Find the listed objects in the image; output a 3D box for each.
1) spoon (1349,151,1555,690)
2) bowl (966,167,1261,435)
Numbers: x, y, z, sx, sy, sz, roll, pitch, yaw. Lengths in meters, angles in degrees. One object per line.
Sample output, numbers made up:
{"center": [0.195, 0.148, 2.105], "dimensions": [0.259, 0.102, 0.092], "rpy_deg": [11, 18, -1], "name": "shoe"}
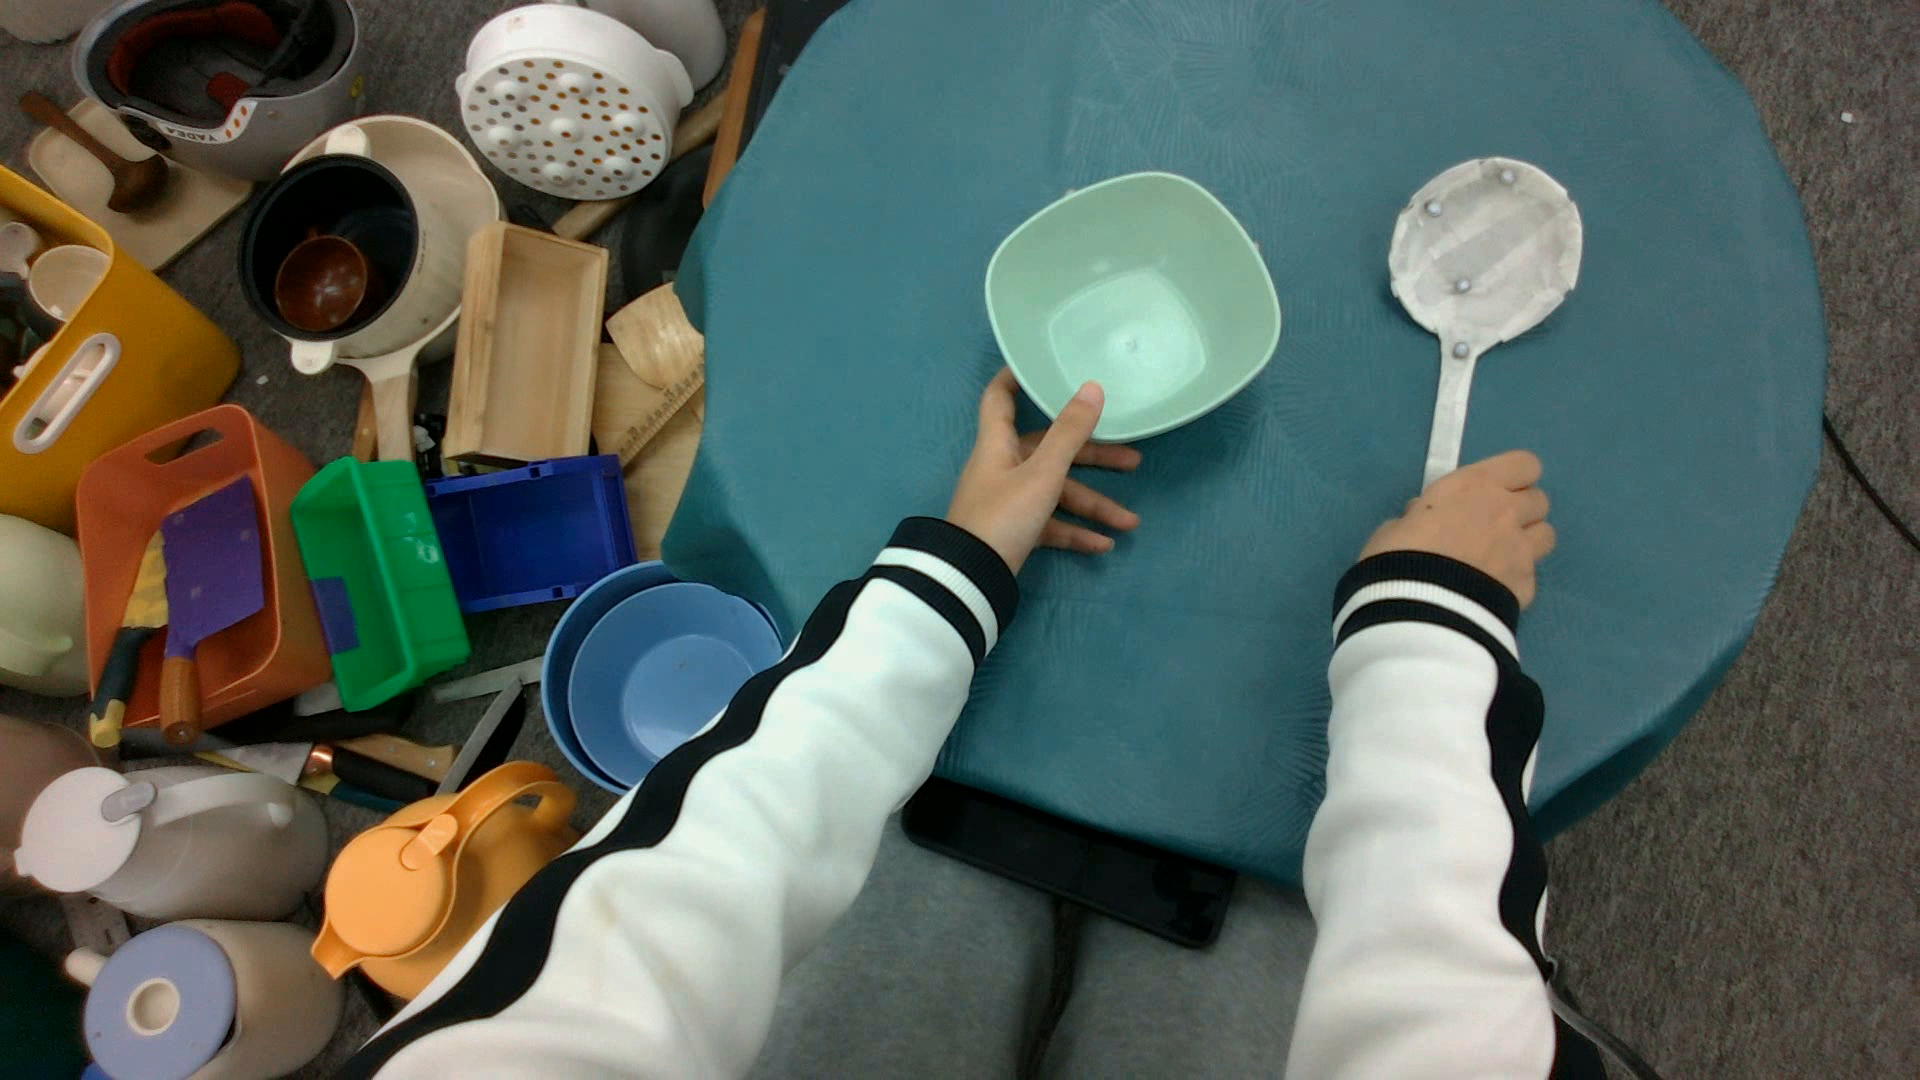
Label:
{"center": [0.229, -0.063, 0.692], "dimensions": [0.100, 0.059, 0.278], "rpy_deg": [13, 74, 13], "name": "spoon"}
{"center": [0.078, -0.116, 0.719], "dimensions": [0.151, 0.058, 0.152], "rpy_deg": [-1, 72, 3], "name": "bowl"}
